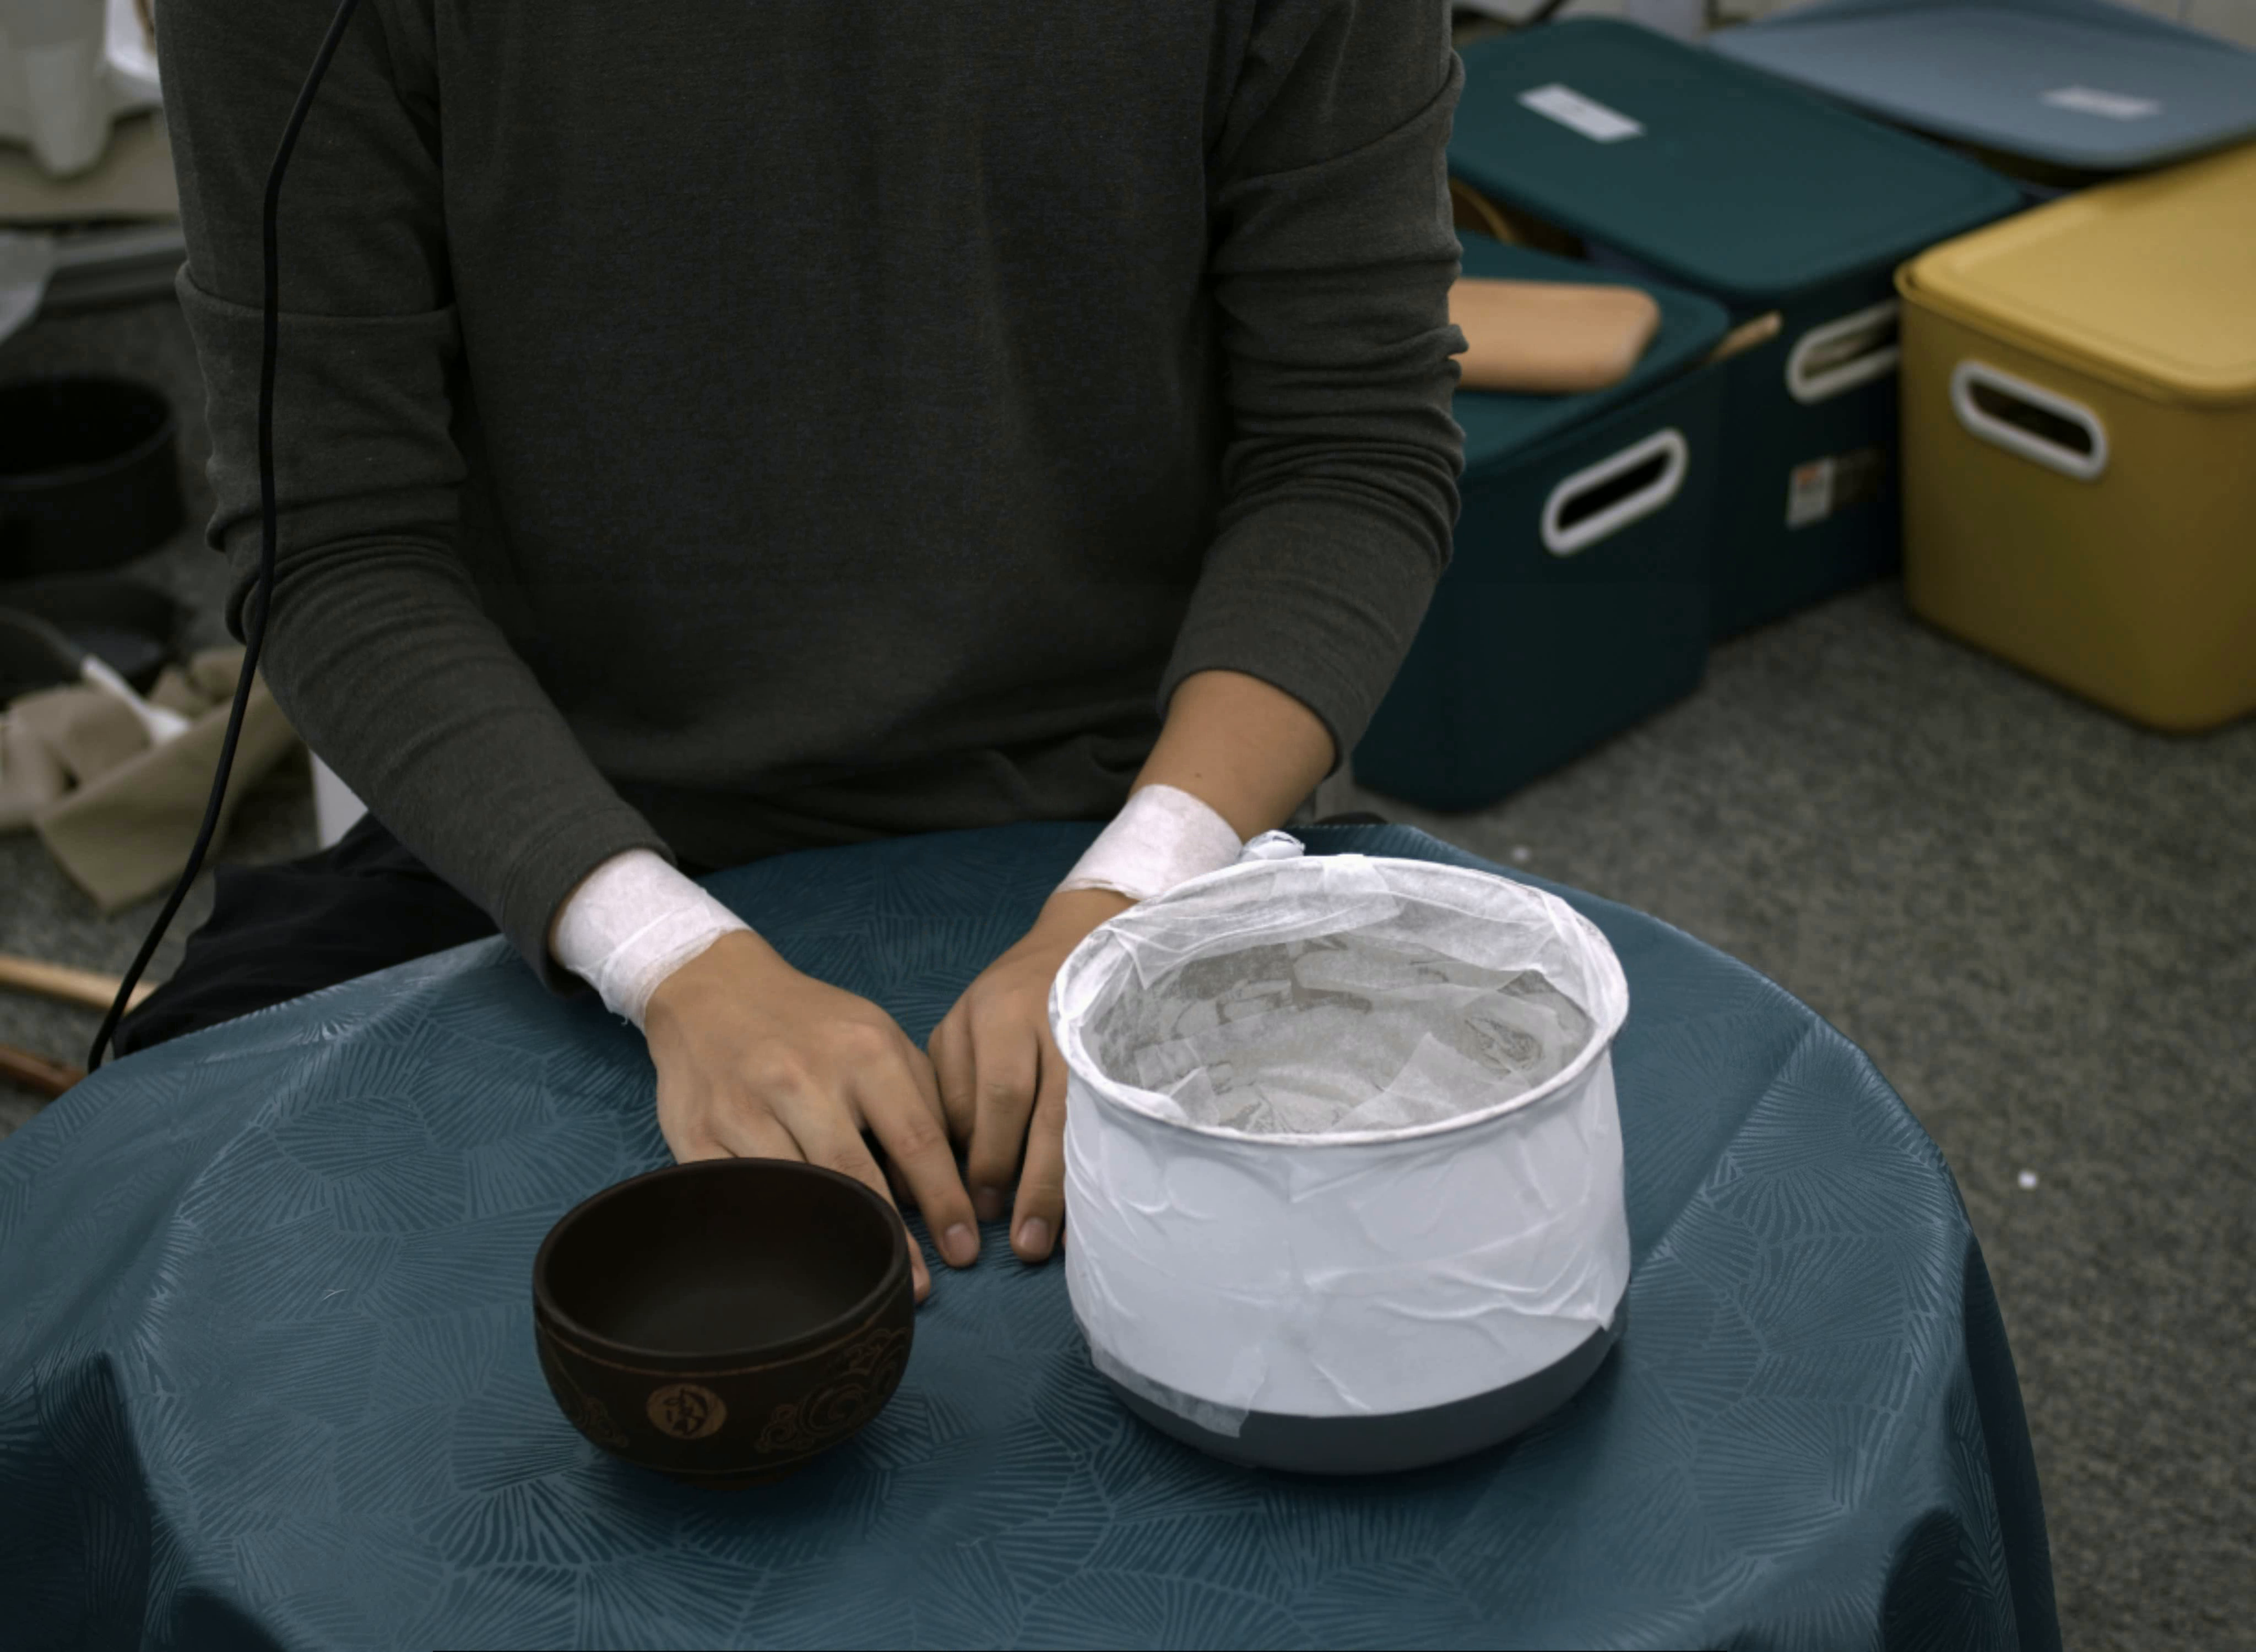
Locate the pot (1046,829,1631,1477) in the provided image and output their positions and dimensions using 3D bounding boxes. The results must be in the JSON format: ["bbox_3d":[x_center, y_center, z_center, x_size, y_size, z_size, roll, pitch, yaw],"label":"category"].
[{"bbox_3d":[0.061,0.094,1.763,0.178,0.135,0.236,-7,27,-8],"label":"pot"}]

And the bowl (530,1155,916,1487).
[{"bbox_3d":[-0.123,0.159,1.723,0.117,0.069,0.120,-3,25,2],"label":"bowl"}]
